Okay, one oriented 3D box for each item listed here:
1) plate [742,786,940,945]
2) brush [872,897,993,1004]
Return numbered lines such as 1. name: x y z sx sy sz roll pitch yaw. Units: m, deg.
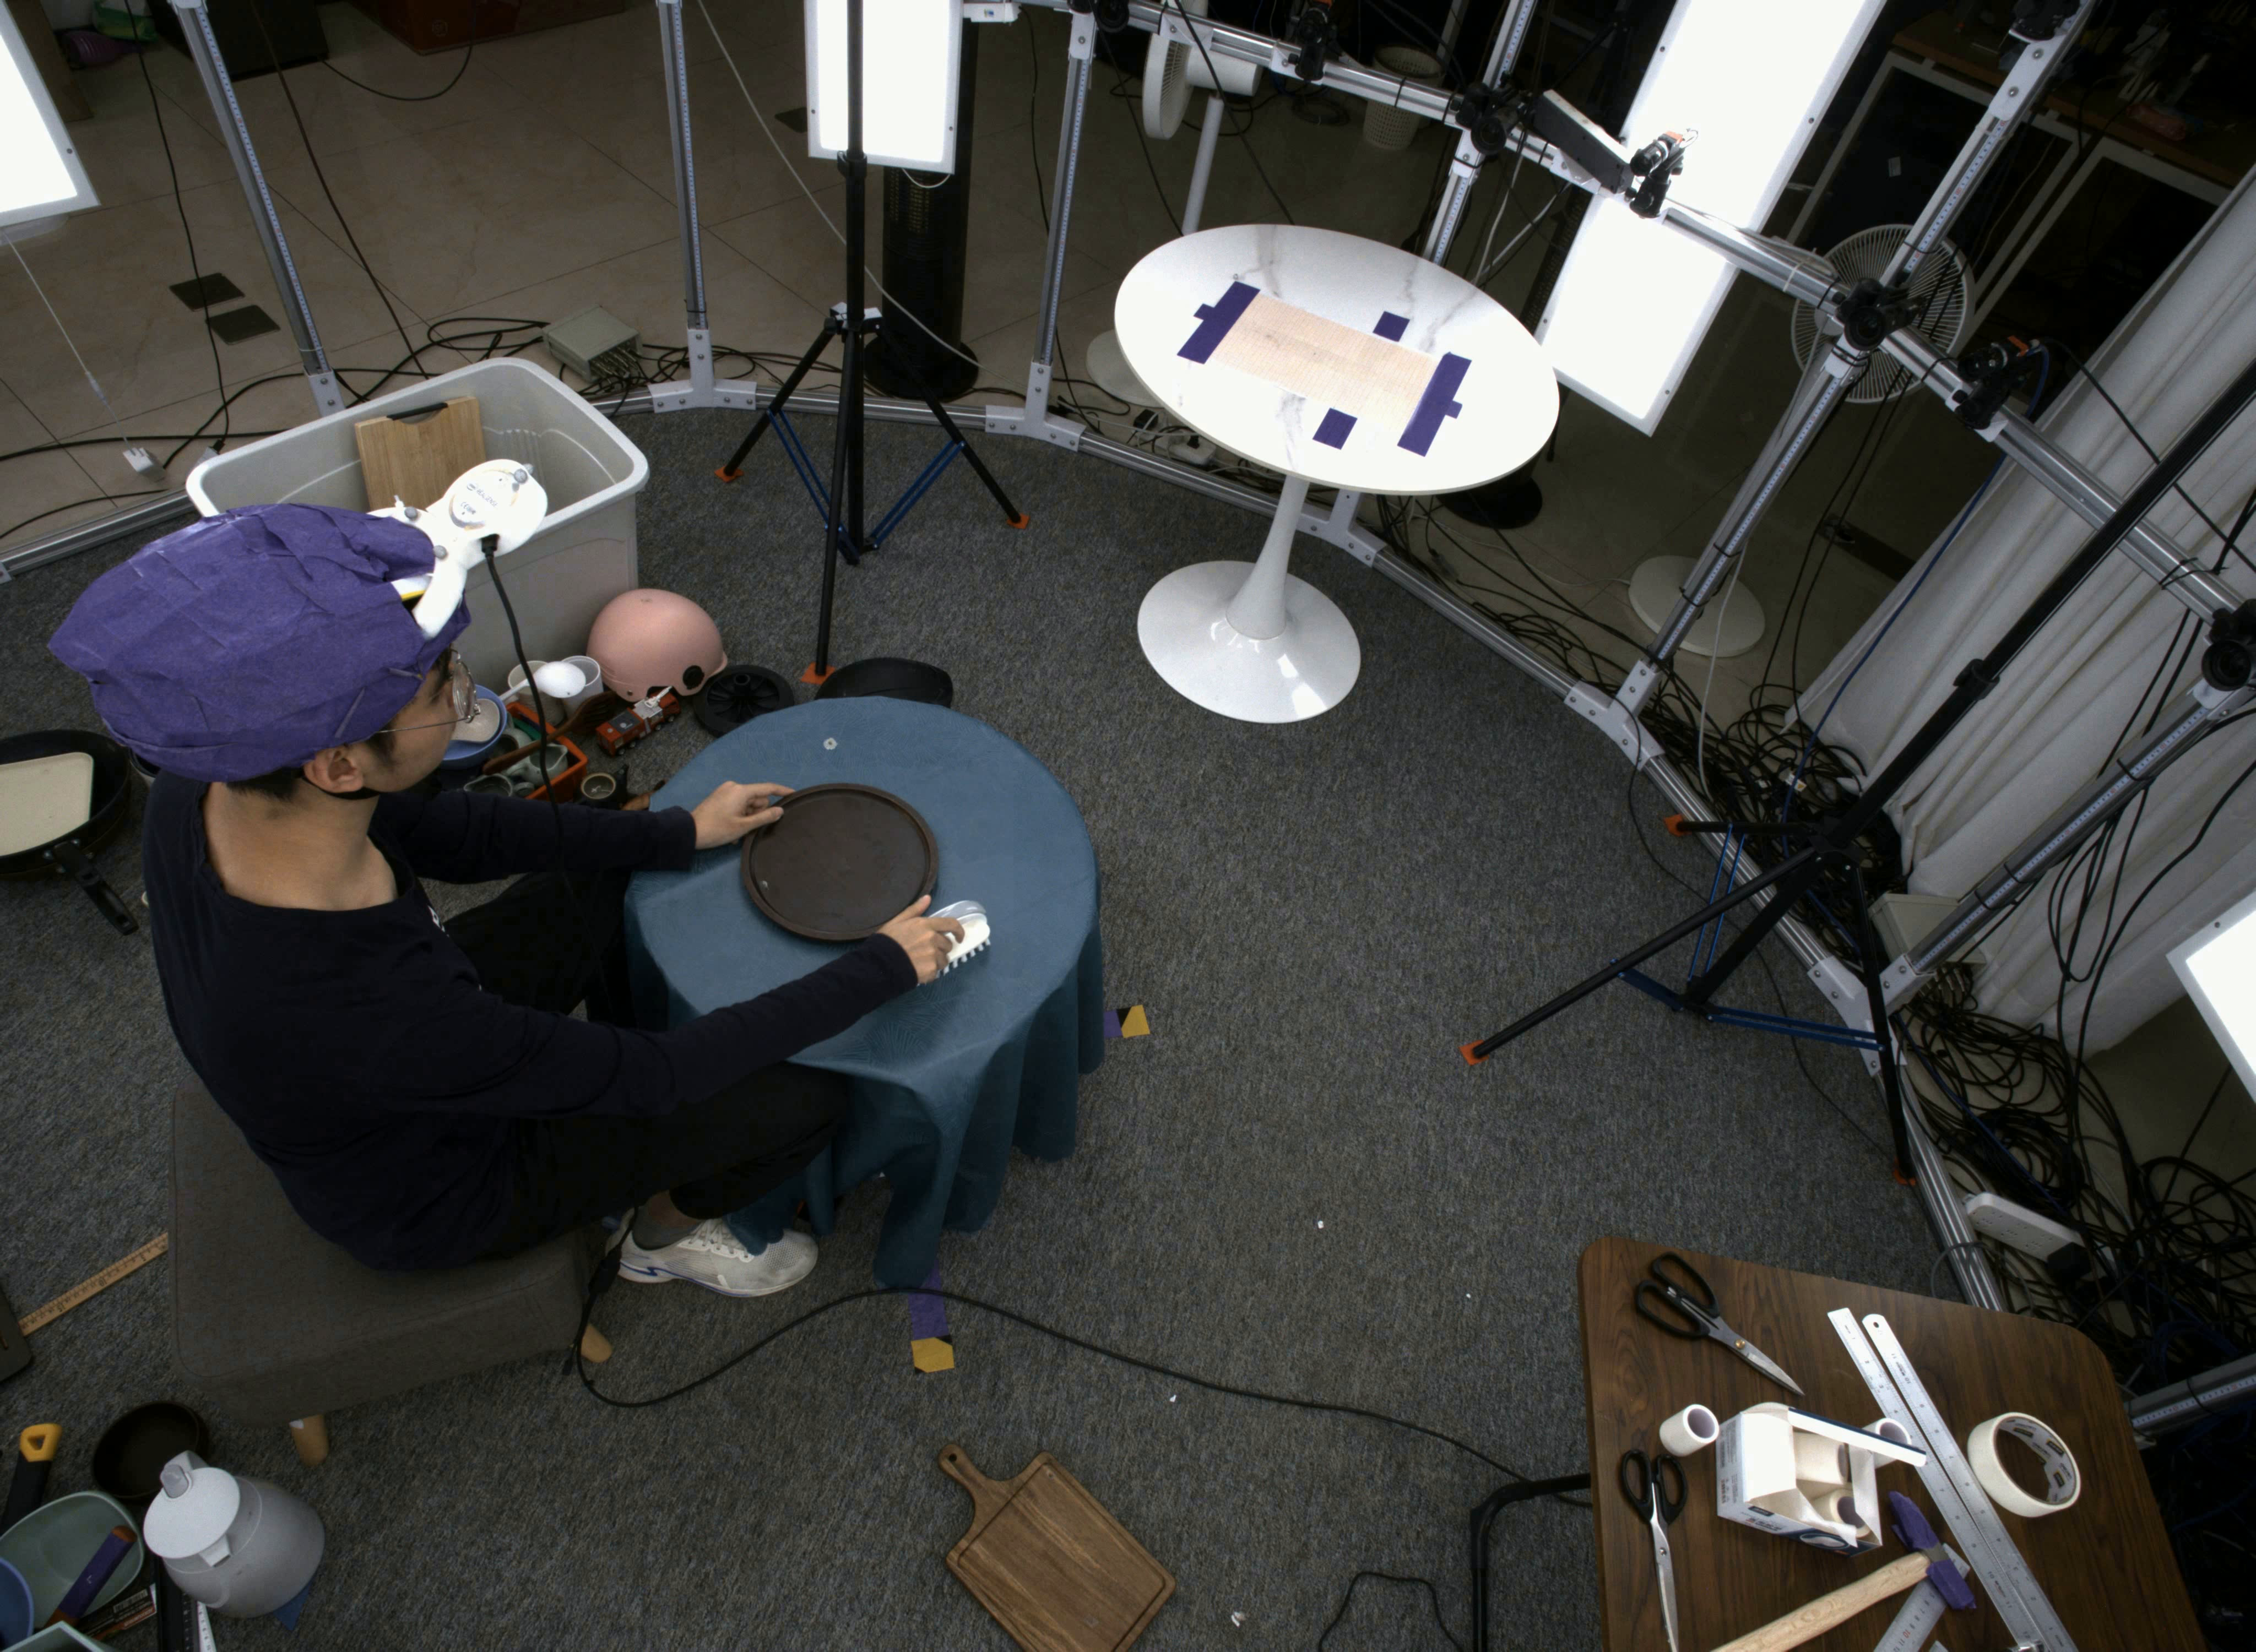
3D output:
1. plate: -0.372 0.048 1.689 0.254 0.029 0.250 8 52 -9
2. brush: -0.246 0.146 1.601 0.176 0.096 0.060 -33 62 -29
